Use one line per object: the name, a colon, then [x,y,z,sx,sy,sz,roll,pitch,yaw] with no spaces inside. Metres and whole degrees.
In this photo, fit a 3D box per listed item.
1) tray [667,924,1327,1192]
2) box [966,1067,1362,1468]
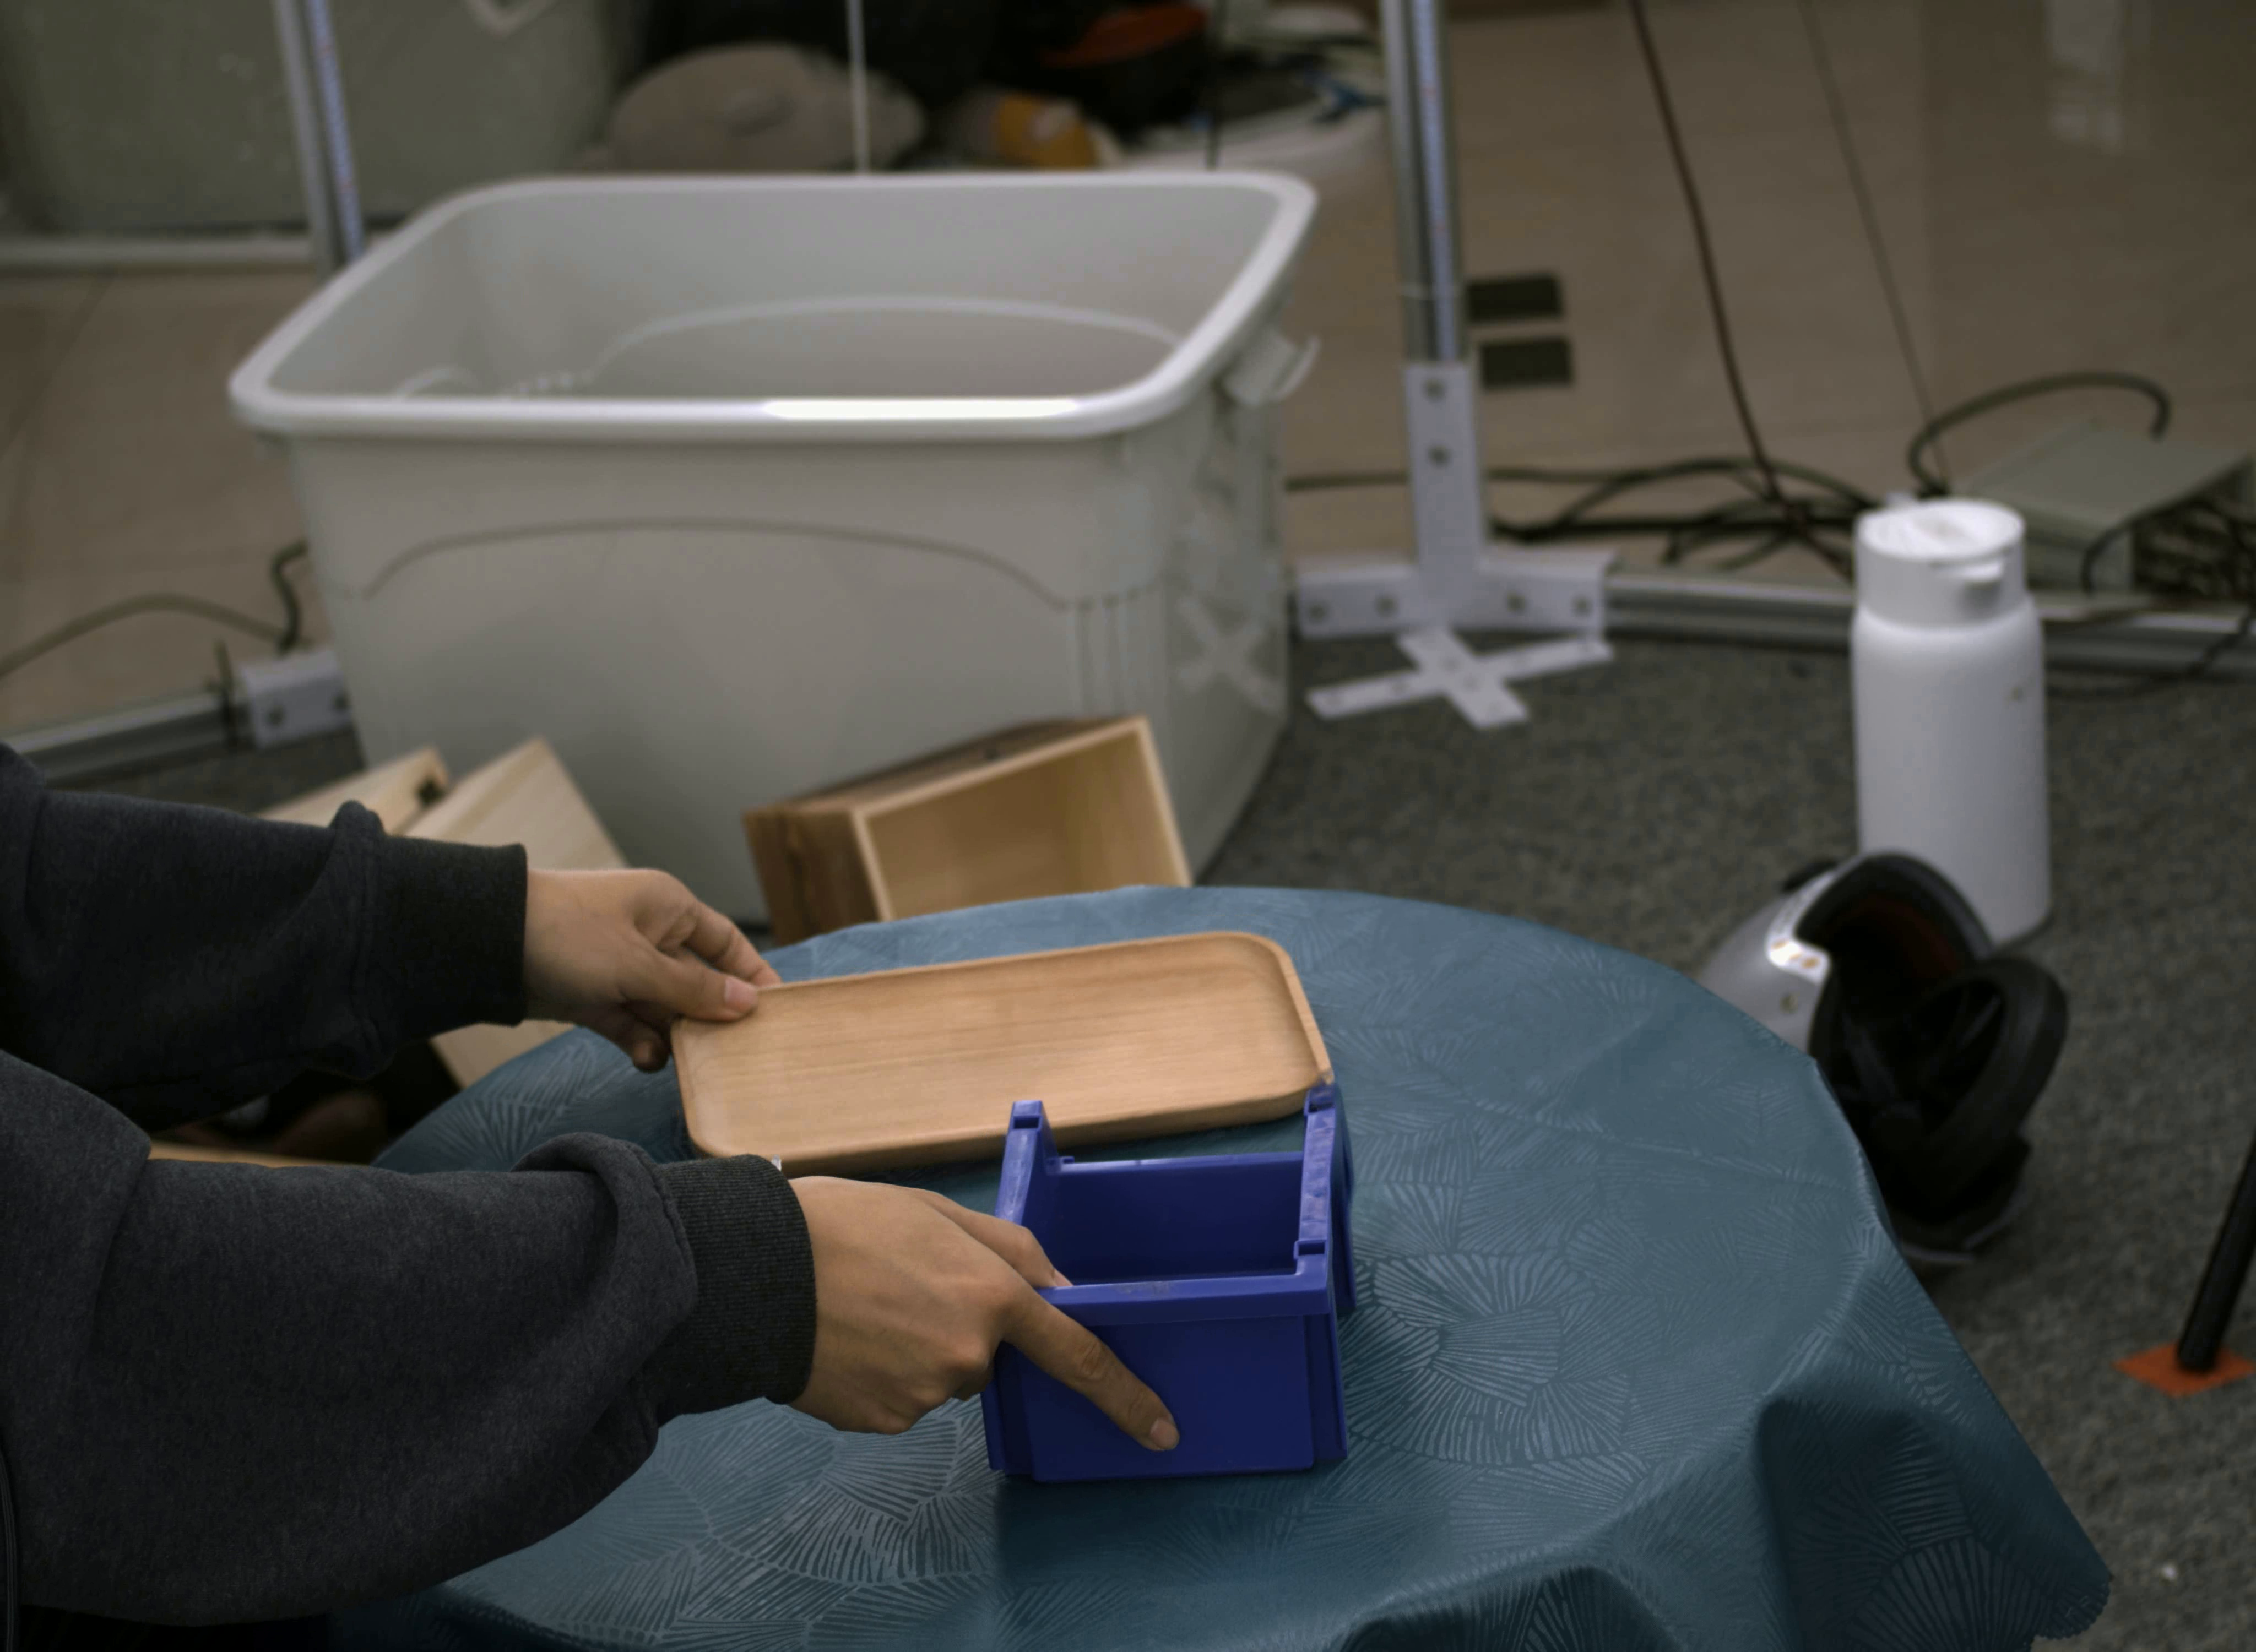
tray: [-0.052,0.091,2.216,0.250,0.023,0.128,-8,30,-6]
box: [0.015,0.152,2.017,0.124,0.083,0.176,-3,29,8]
